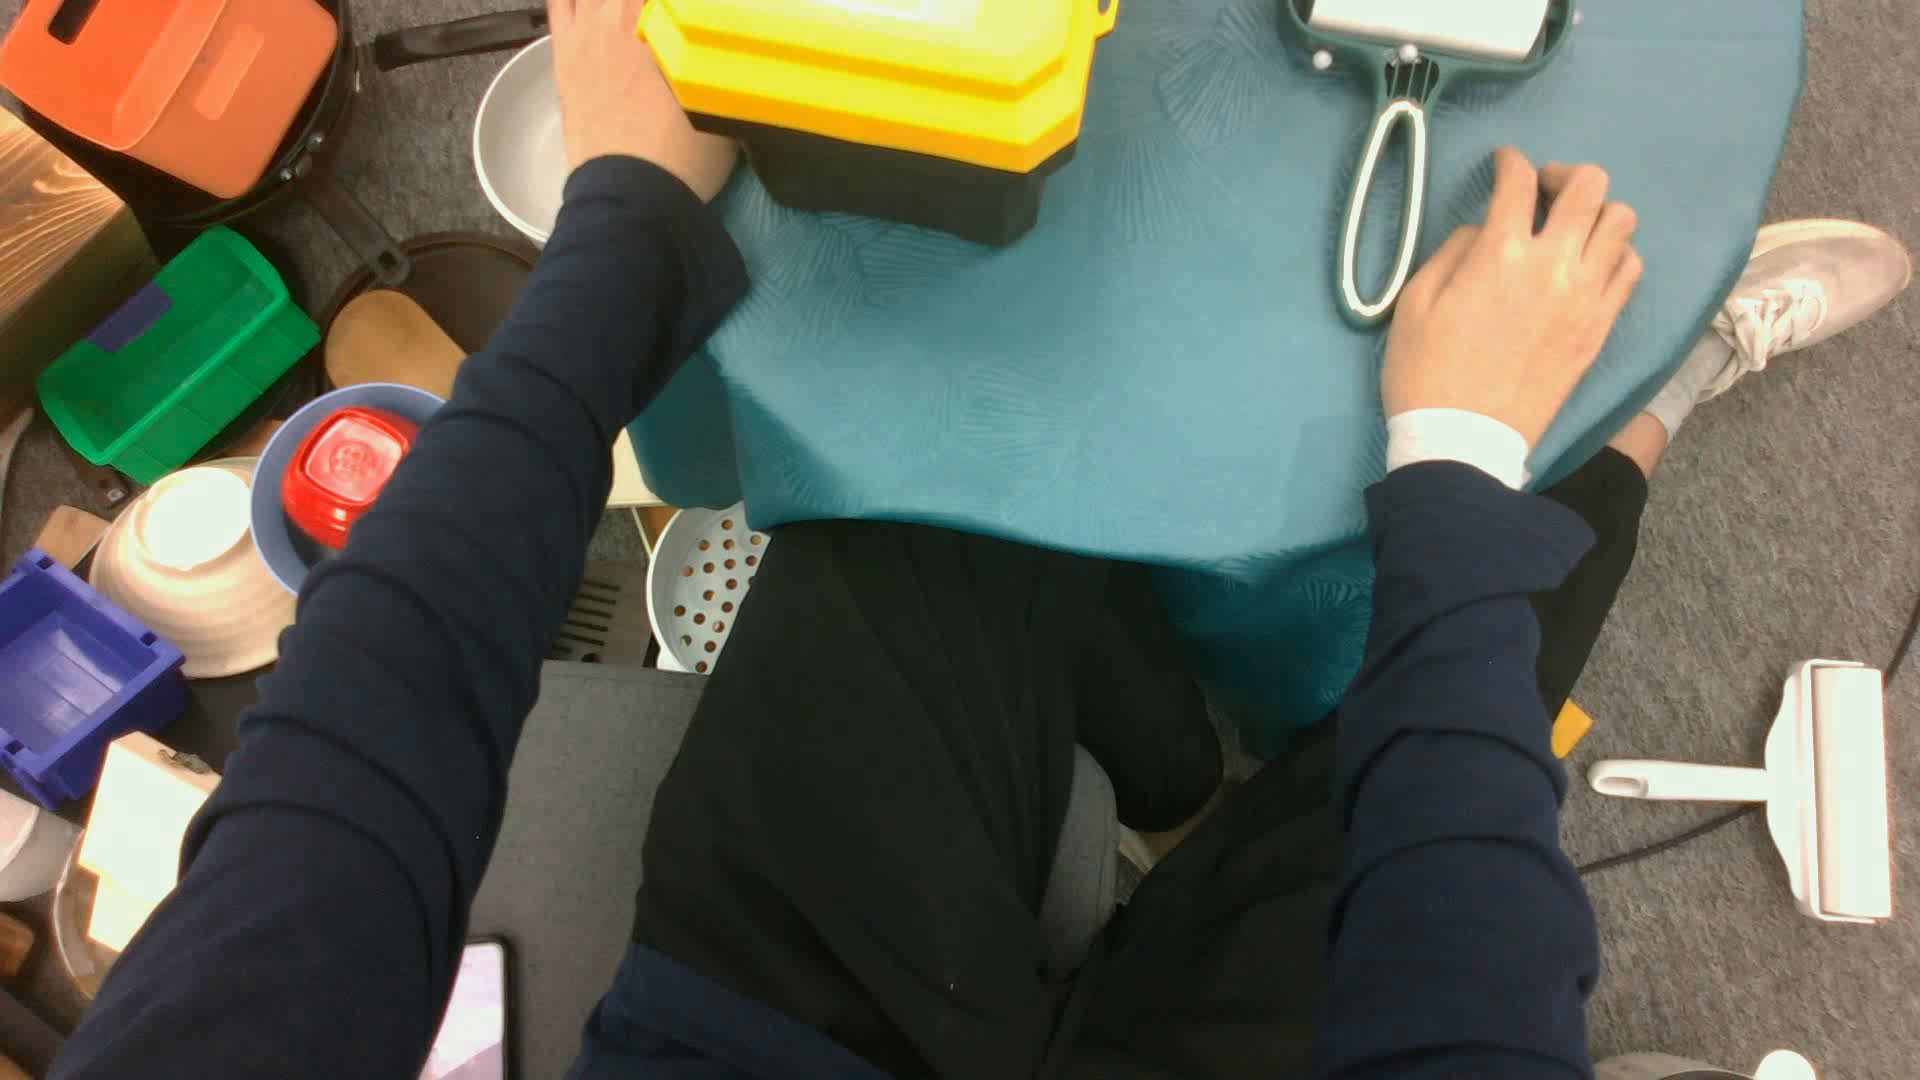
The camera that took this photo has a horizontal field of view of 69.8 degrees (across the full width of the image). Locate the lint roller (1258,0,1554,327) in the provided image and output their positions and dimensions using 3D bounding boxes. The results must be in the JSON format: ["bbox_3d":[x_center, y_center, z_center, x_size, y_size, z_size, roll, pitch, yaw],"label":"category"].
[{"bbox_3d":[0.193,-0.190,0.632,0.134,0.048,0.180,11,83,2],"label":"lint roller"}]

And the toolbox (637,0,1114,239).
[{"bbox_3d":[-0.008,-0.315,0.590,0.181,0.172,0.352,11,80,3],"label":"toolbox"}]
